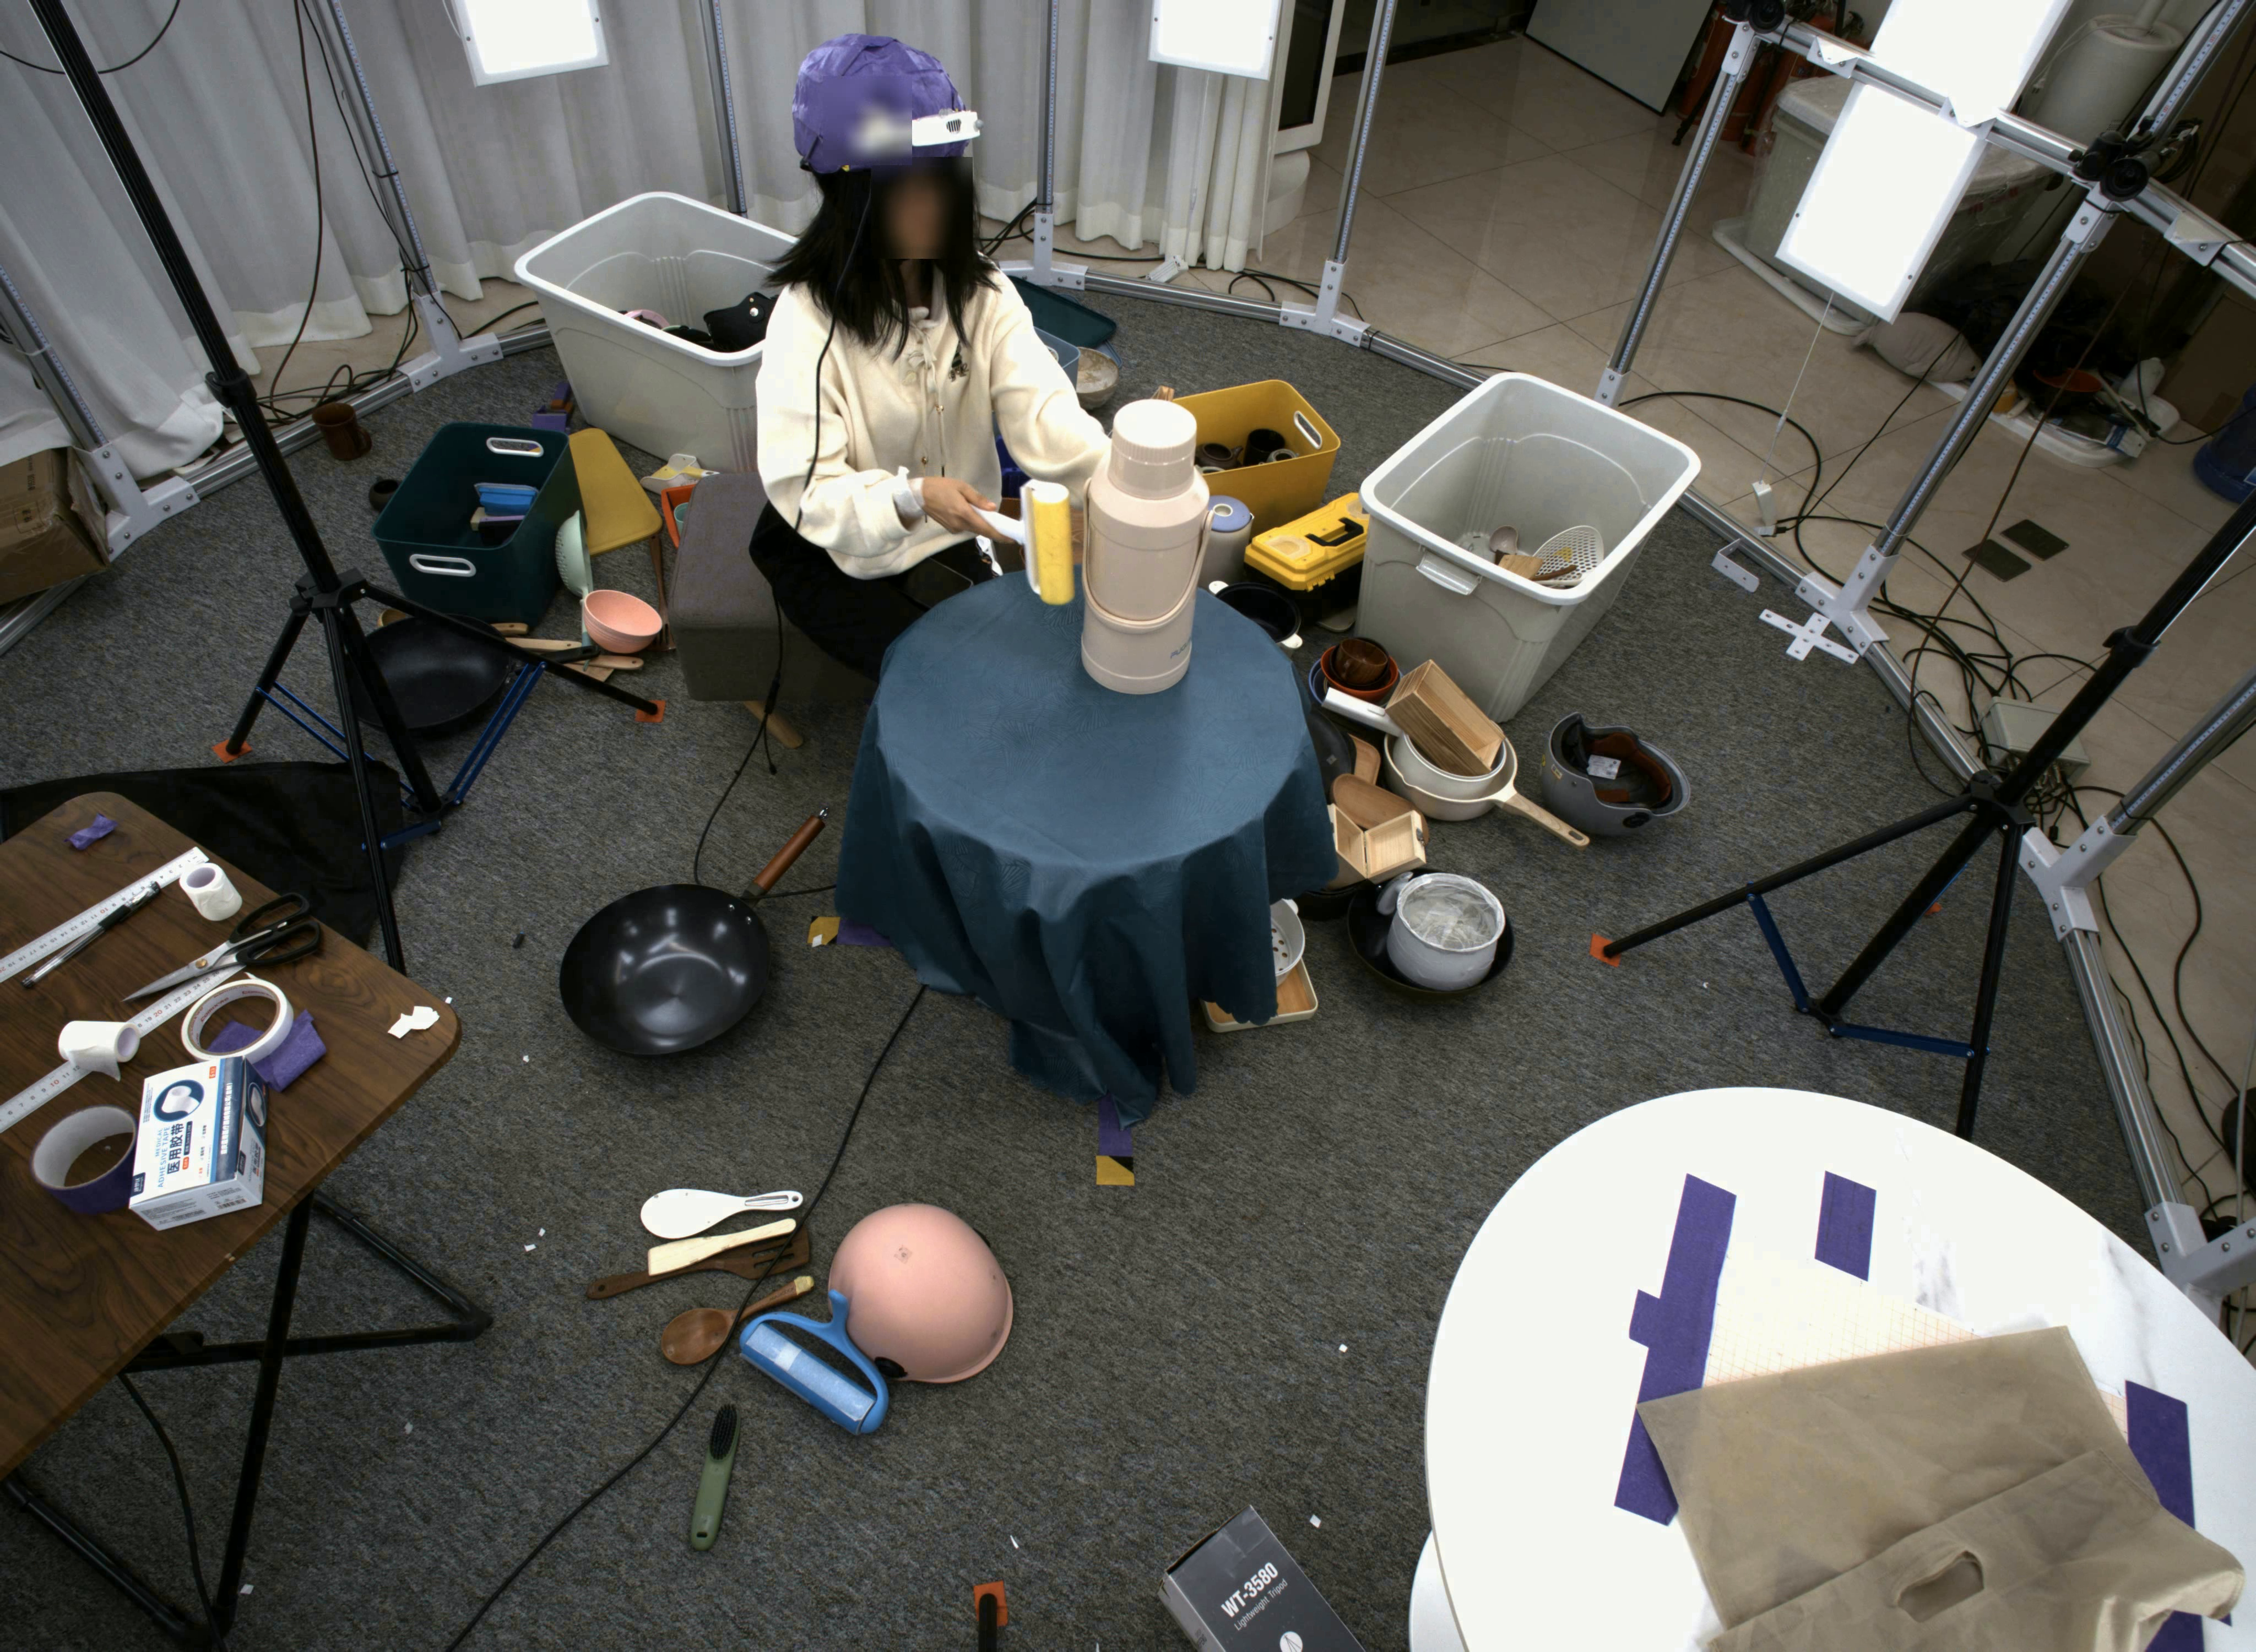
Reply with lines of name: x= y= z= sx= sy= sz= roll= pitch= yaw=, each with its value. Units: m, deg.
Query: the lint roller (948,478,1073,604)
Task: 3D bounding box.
lint roller: x=-0.165 y=-0.394 z=1.729 sx=0.193 sy=0.170 sz=0.052 roll=16 pitch=47 yaw=19

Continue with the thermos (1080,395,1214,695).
thermos: x=0.028 y=-0.382 z=1.748 sx=0.176 sy=0.396 sz=0.211 roll=17 pitch=50 yaw=11
